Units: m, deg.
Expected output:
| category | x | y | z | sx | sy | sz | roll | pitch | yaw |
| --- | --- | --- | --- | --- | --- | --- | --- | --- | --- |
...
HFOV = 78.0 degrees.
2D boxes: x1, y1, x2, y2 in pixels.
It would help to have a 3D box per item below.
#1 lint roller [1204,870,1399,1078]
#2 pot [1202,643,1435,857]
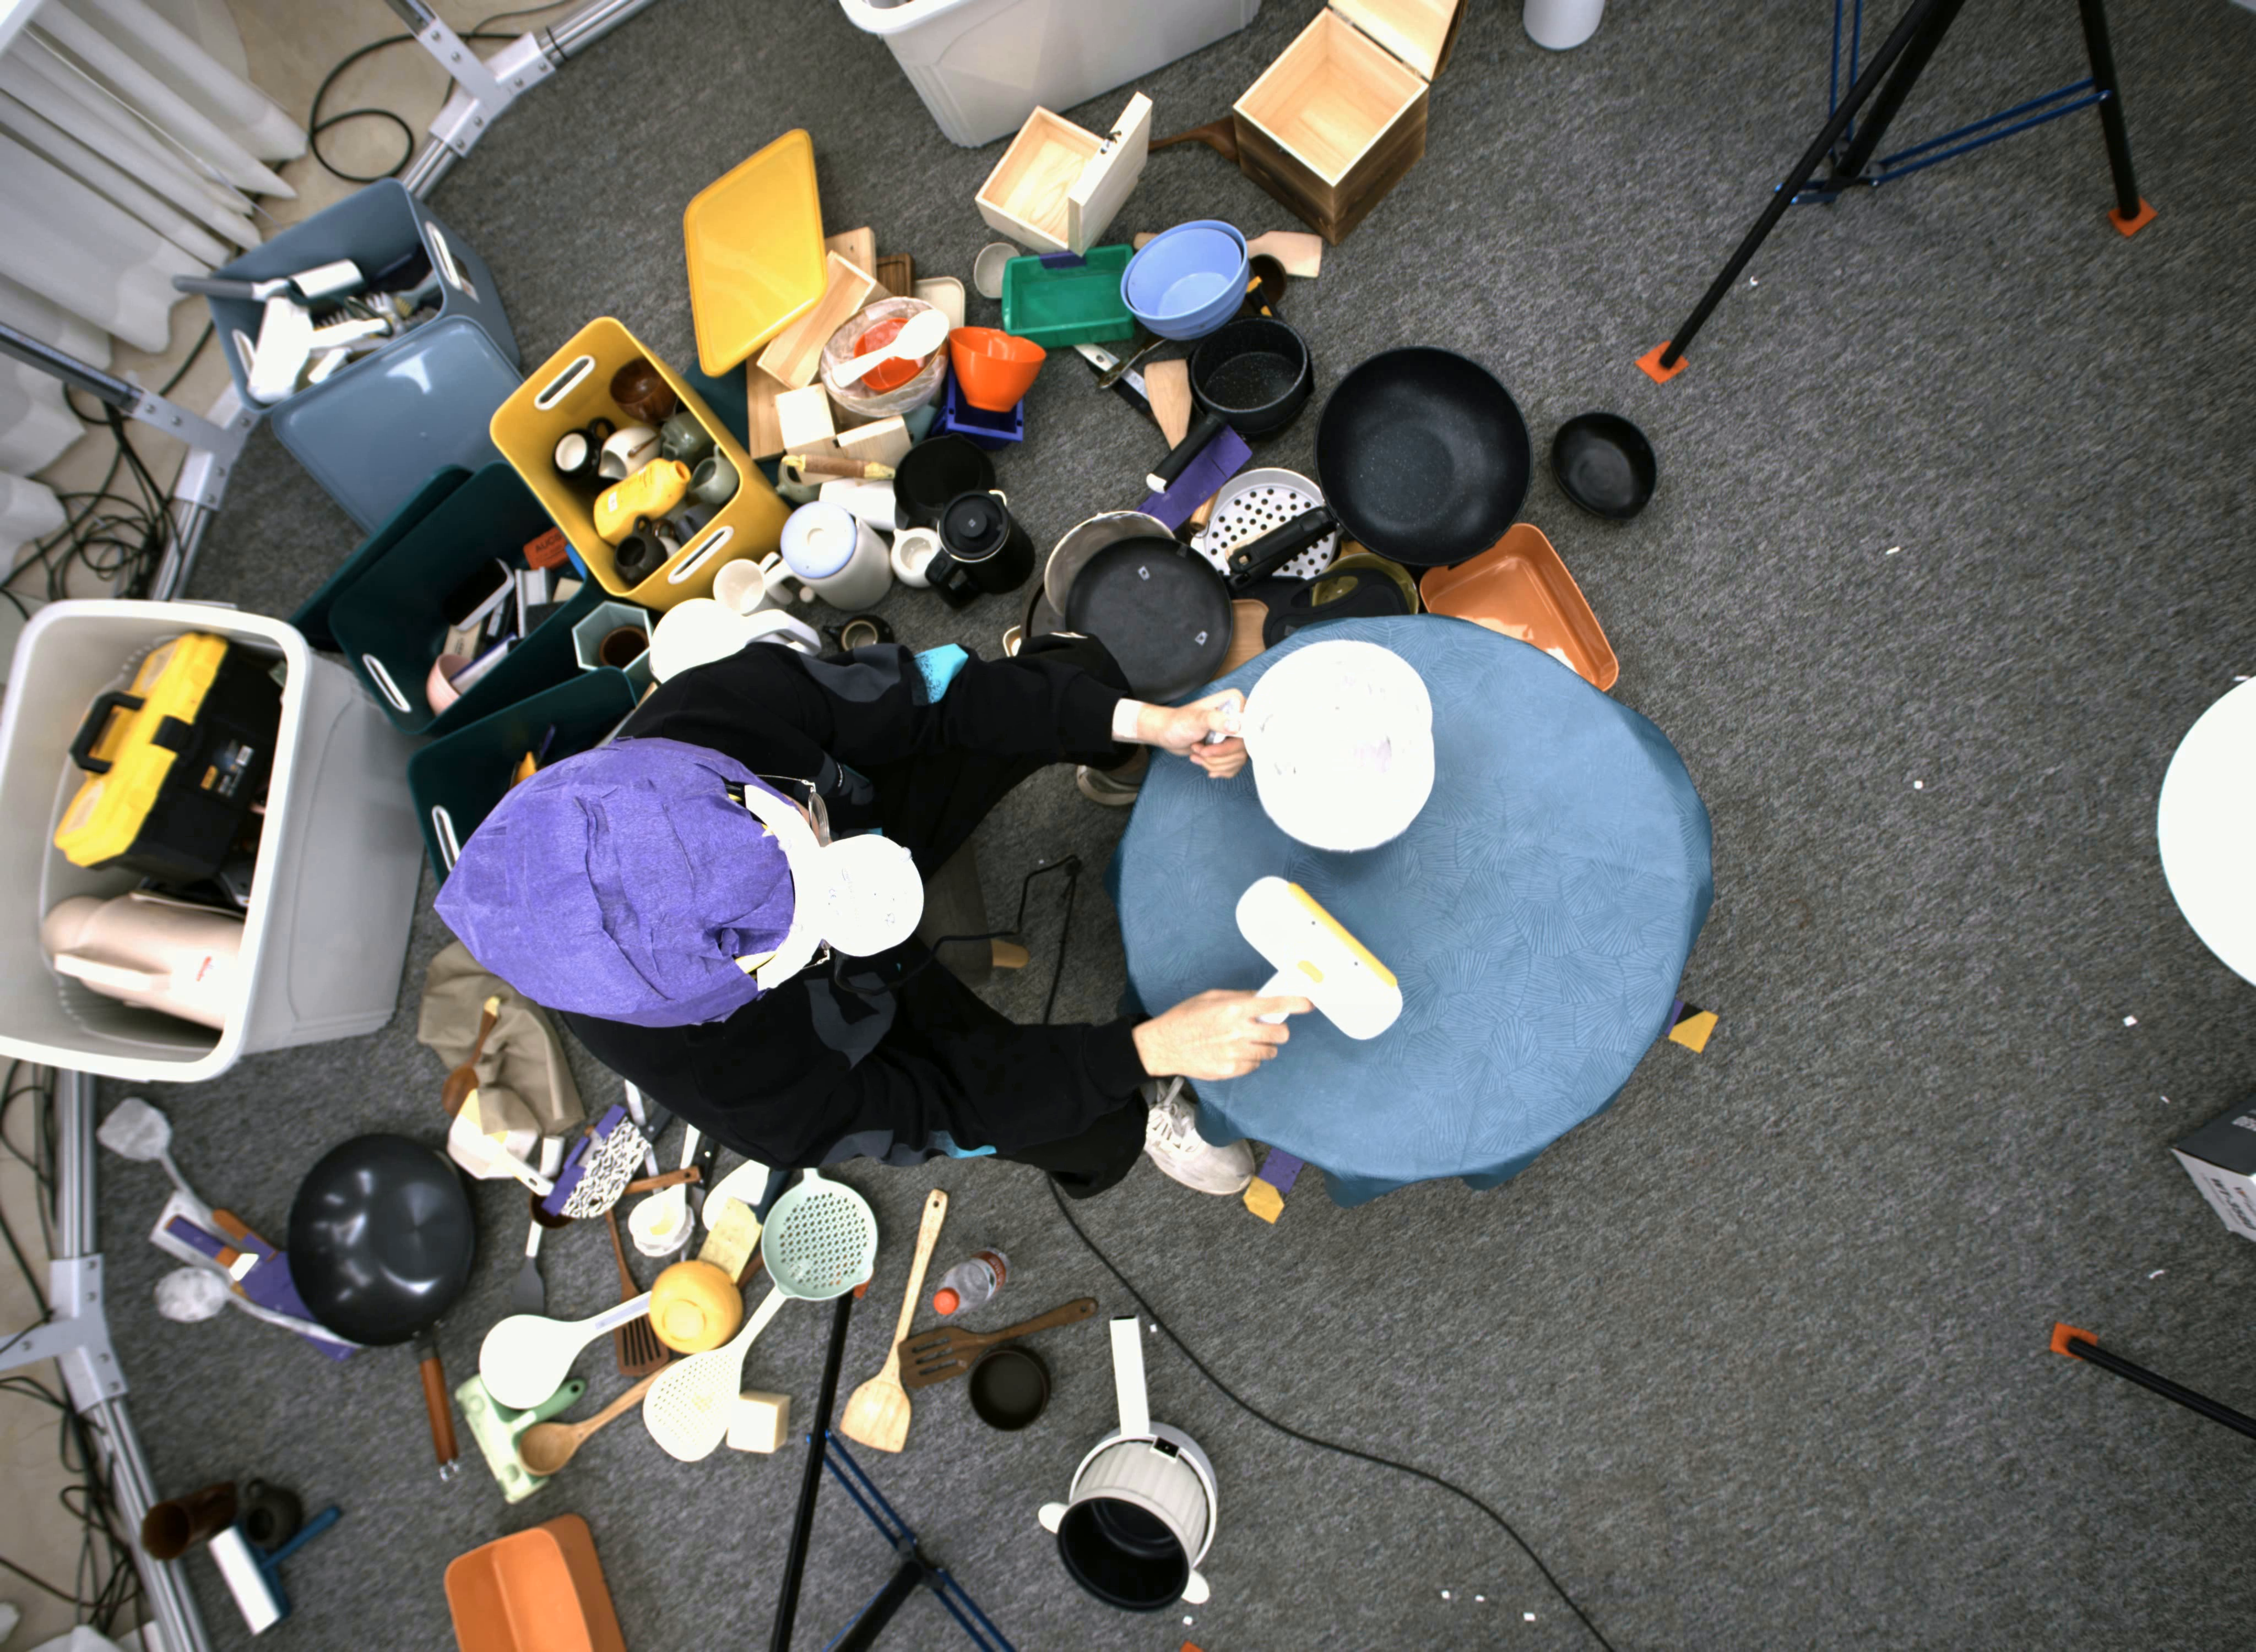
| category | x | y | z | sx | sy | sz | roll | pitch | yaw |
| --- | --- | --- | --- | --- | --- | --- | --- | --- | --- |
| lint roller | 0.145 | 0.167 | 1.374 | 0.193 | 0.073 | 0.195 | 38 | 107 | -3 |
| pot | 0.181 | -0.074 | 1.347 | 0.234 | 0.139 | 0.175 | 10 | 63 | 17 |
